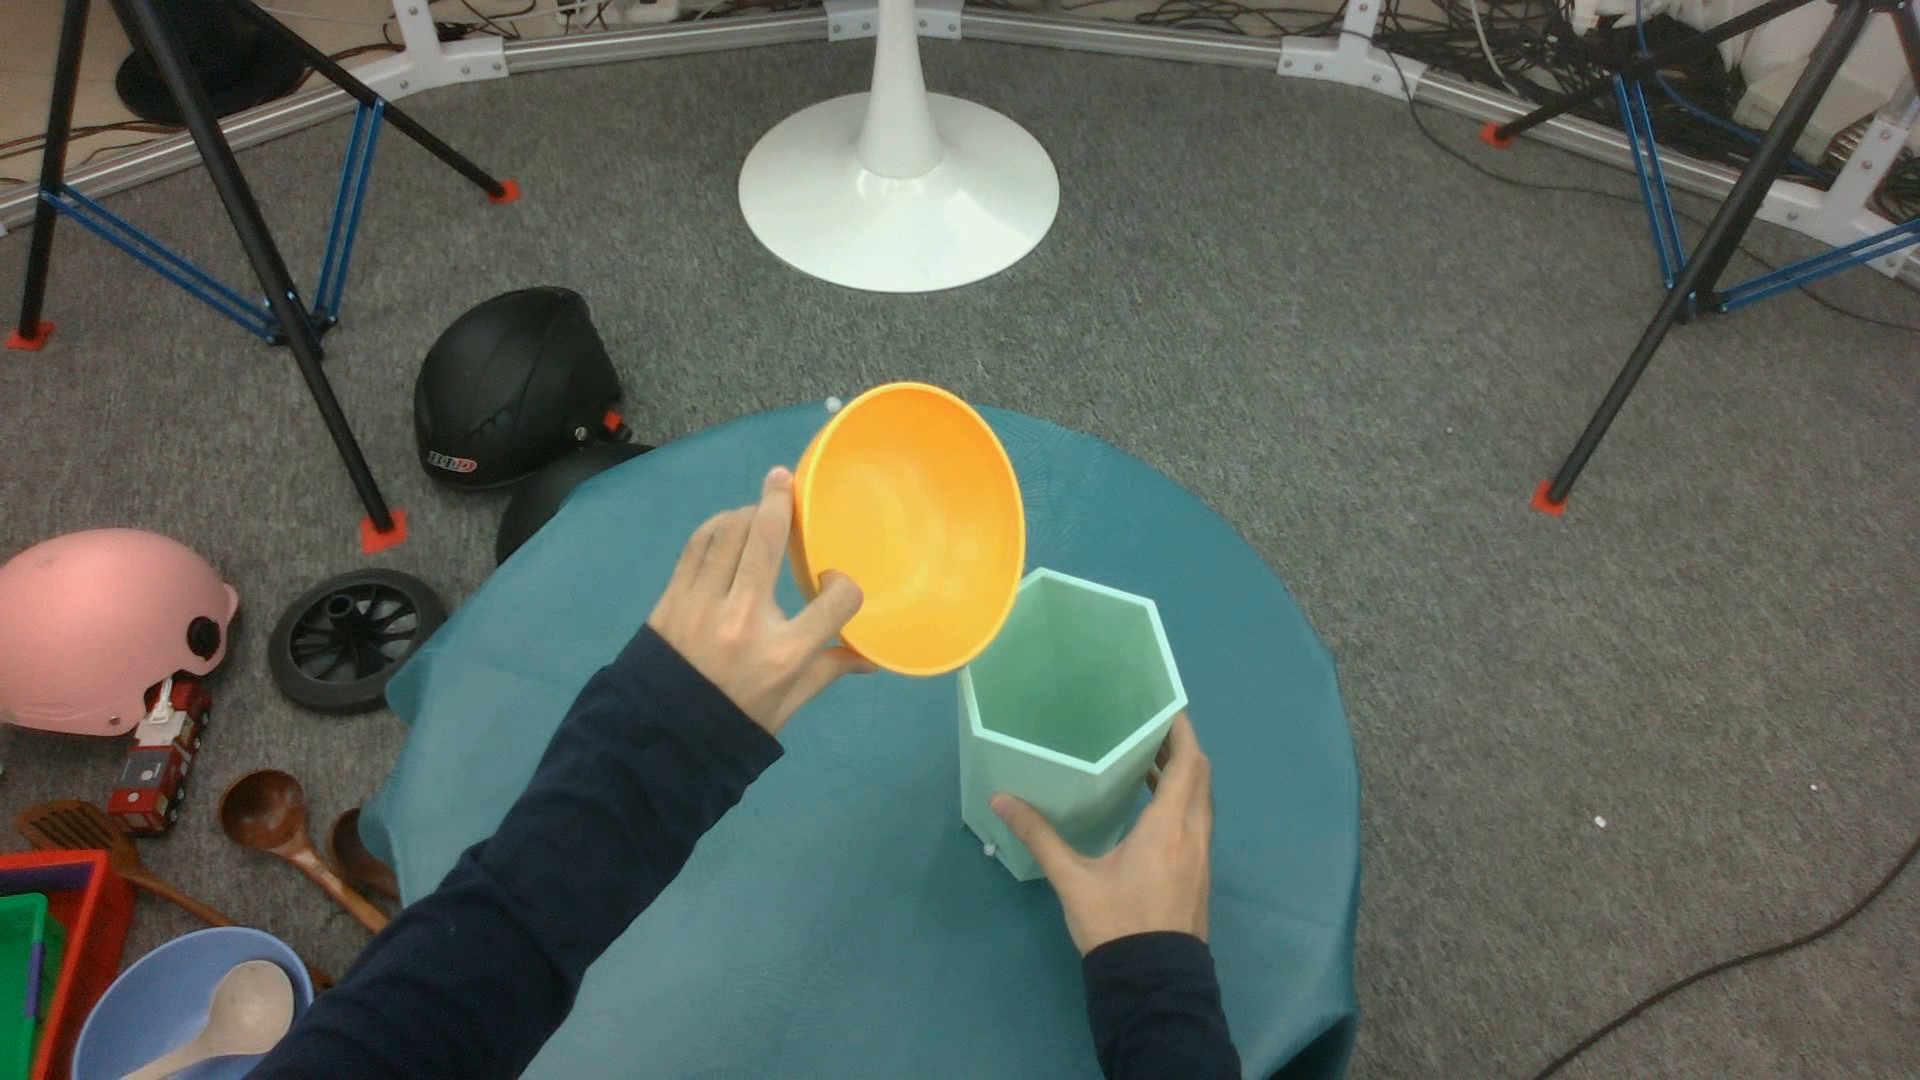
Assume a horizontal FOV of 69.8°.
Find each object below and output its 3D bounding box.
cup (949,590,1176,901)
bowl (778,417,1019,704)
[{"bbox_3d":[0.052,0.127,0.796,0.131,0.162,0.116,14,52,11],"label":"cup"},{"bbox_3d":[-0.041,0.012,0.710,0.060,0.145,0.146,-6,34,49],"label":"bowl"}]
